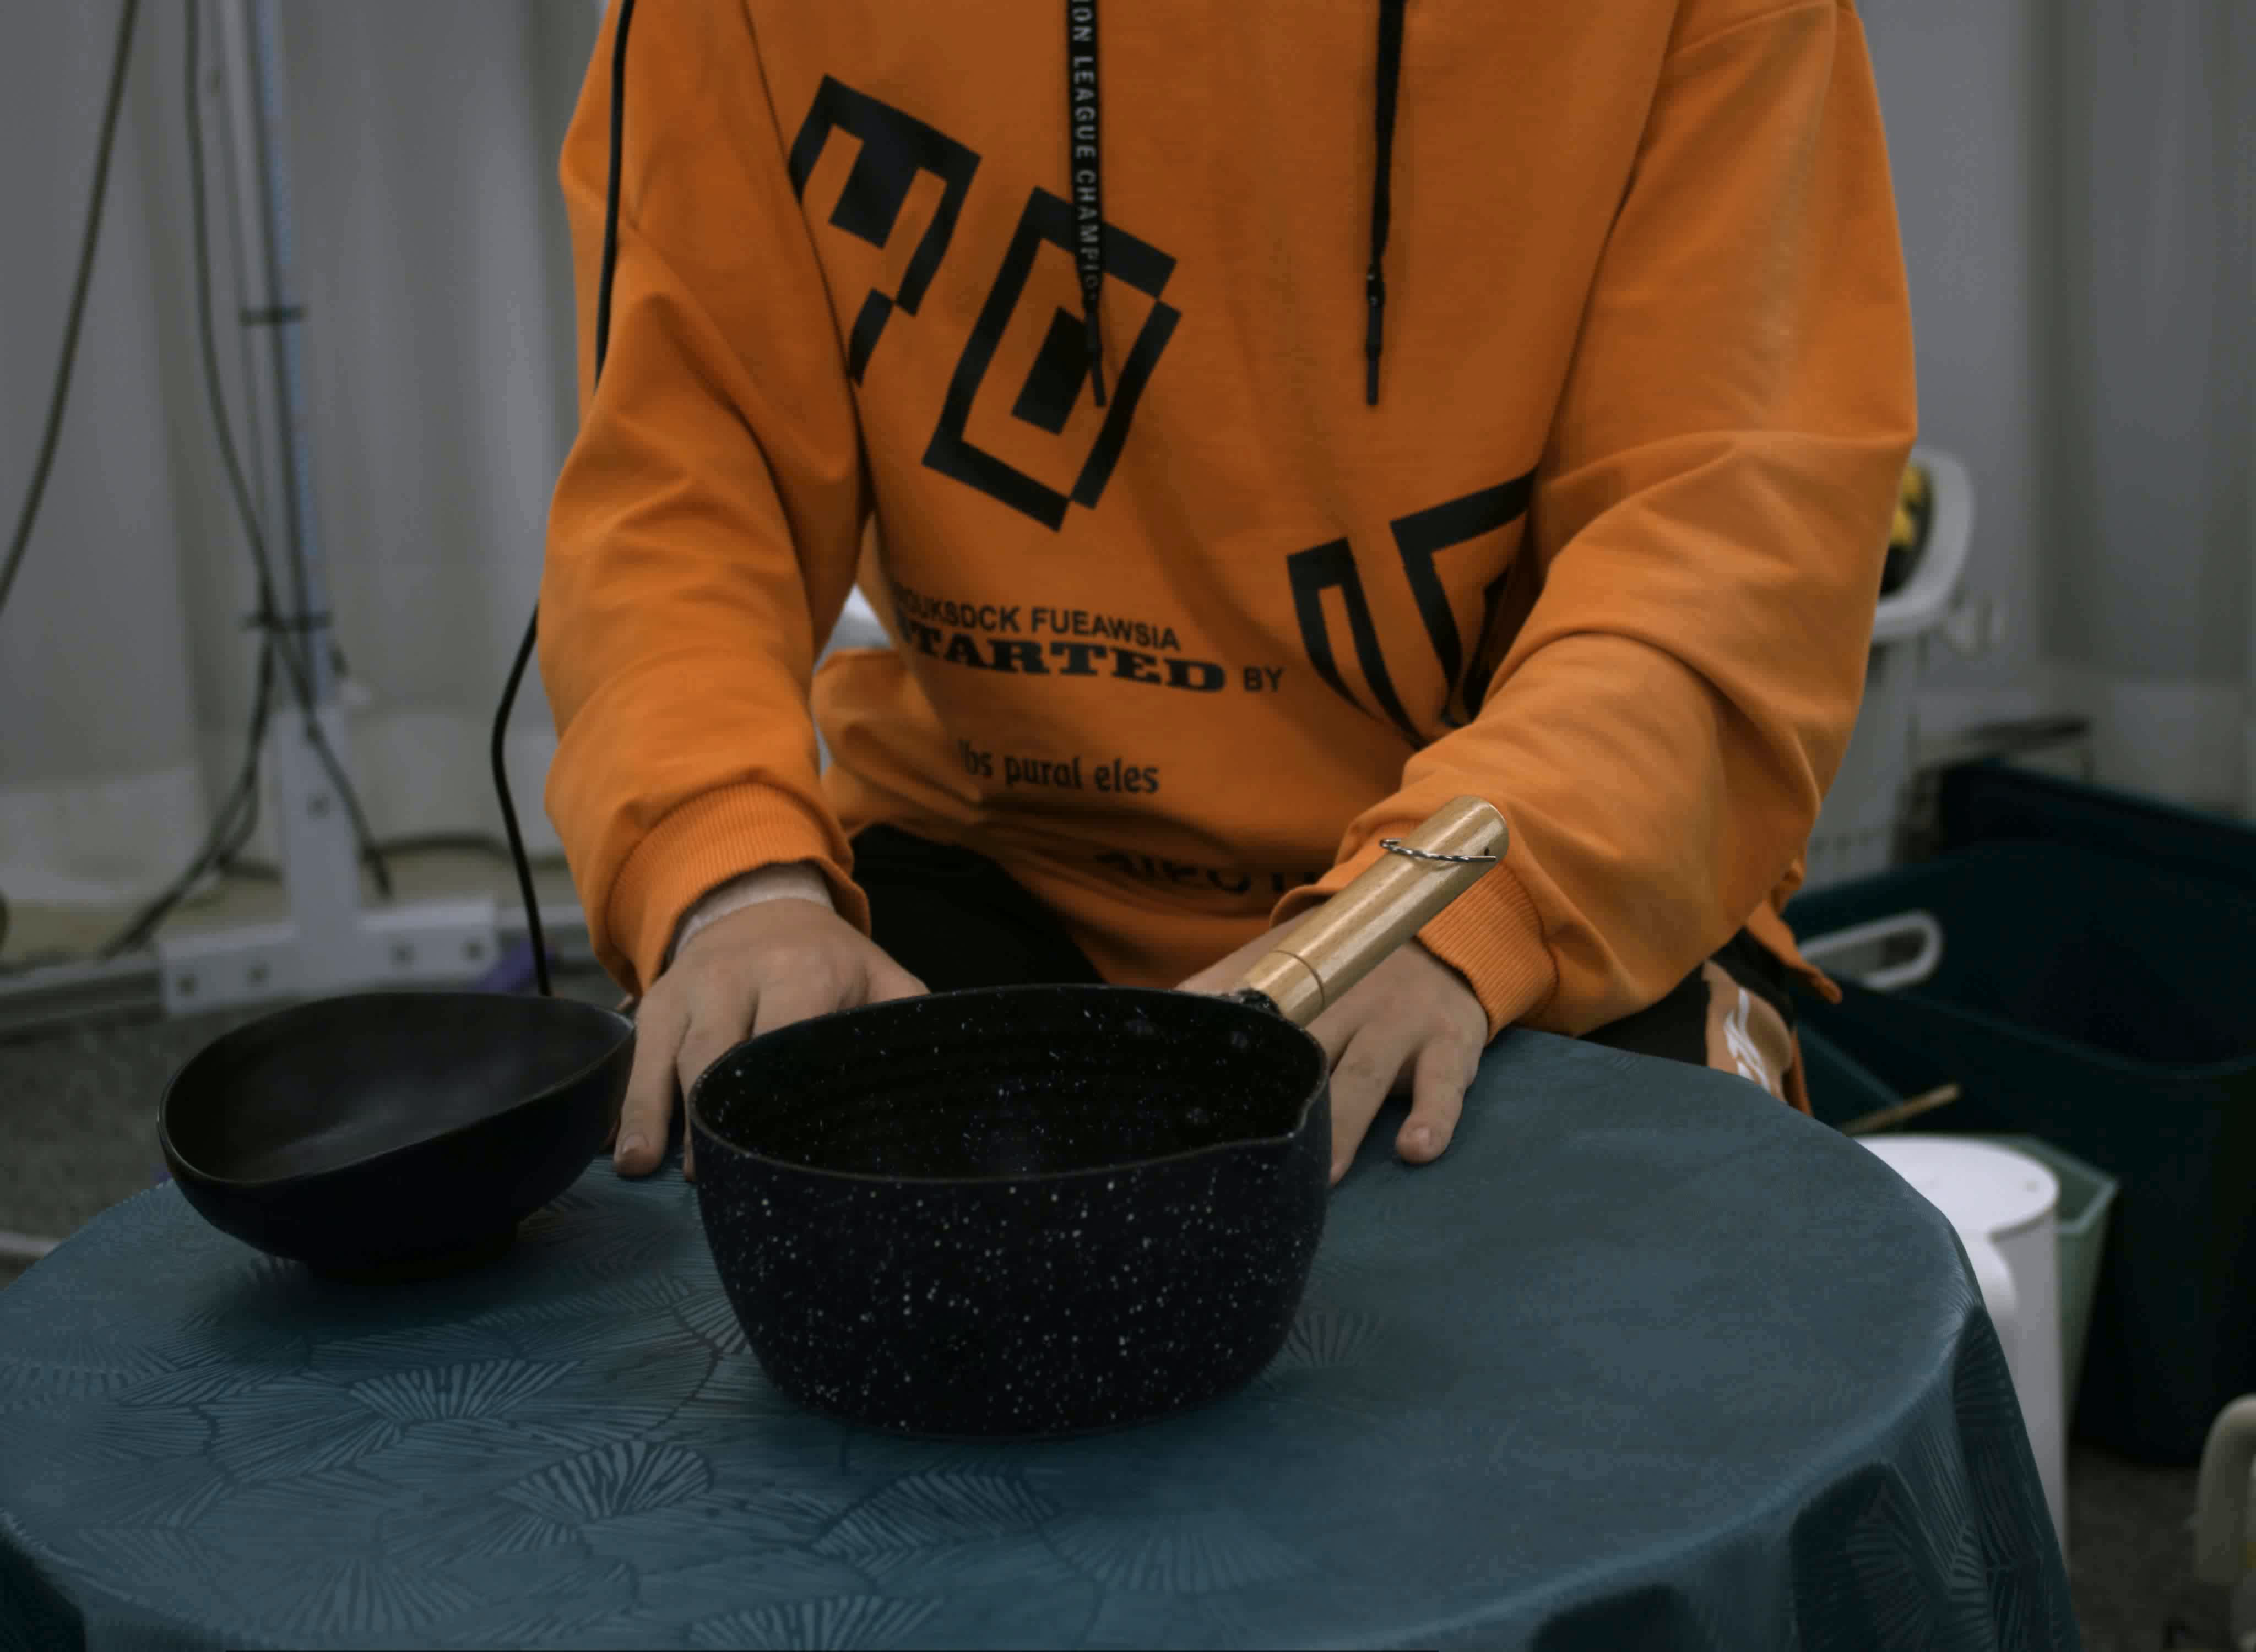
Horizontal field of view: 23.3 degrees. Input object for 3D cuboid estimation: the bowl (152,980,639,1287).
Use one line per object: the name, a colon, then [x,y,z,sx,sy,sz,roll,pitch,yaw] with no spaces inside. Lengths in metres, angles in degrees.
bowl: [-0.223,0.101,1.691,0.137,0.066,0.170,5,19,29]

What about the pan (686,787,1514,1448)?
pan: [0.014,0.082,1.630,0.208,0.108,0.343,6,19,36]
